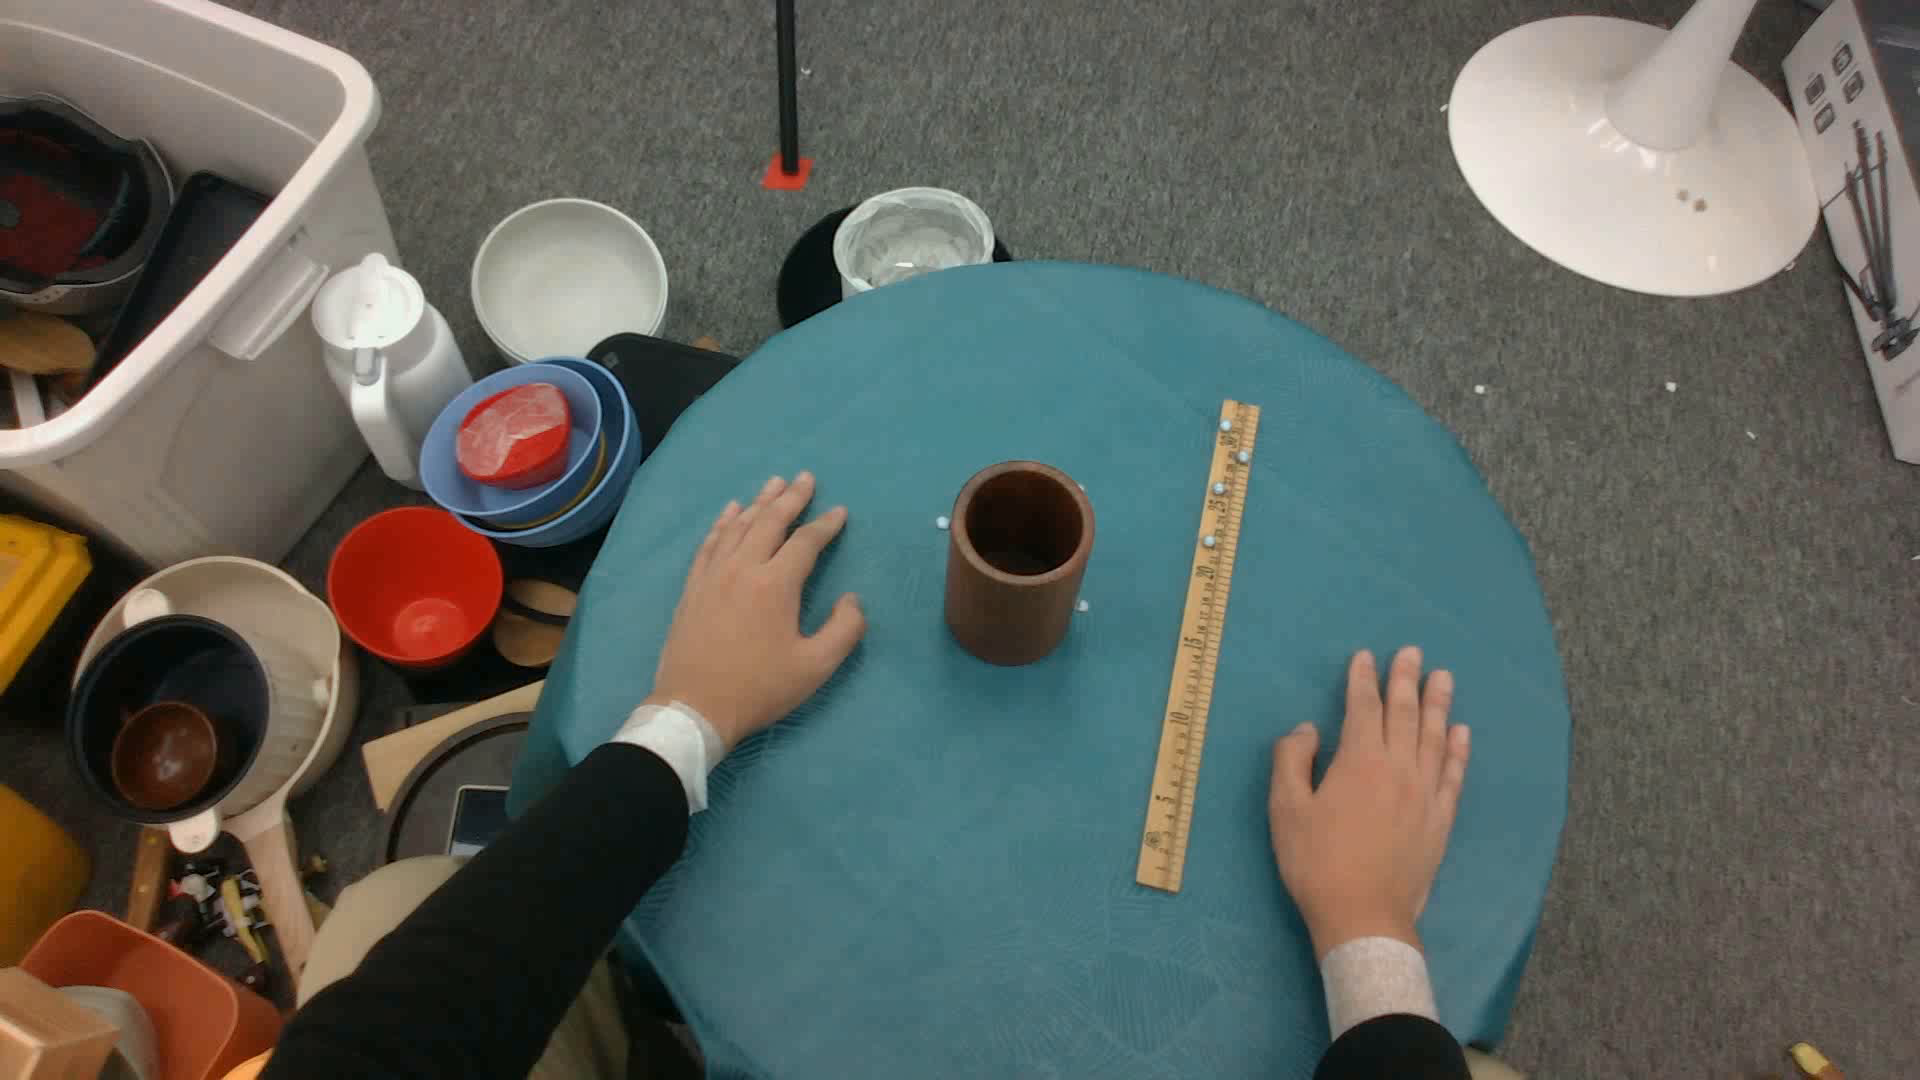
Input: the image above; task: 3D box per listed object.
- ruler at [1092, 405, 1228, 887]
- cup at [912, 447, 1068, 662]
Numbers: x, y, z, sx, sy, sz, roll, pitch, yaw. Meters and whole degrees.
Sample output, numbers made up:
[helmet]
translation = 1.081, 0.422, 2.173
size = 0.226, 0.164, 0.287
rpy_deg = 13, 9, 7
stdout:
[ruler]
translation = 0.127, 0.049, 0.843
size = 0.027, 0.022, 0.333
rpy_deg = 13, 61, 7
[cup]
translation = 0.015, 0.011, 0.793
size = 0.088, 0.118, 0.088
rpy_deg = 2, 62, -3
